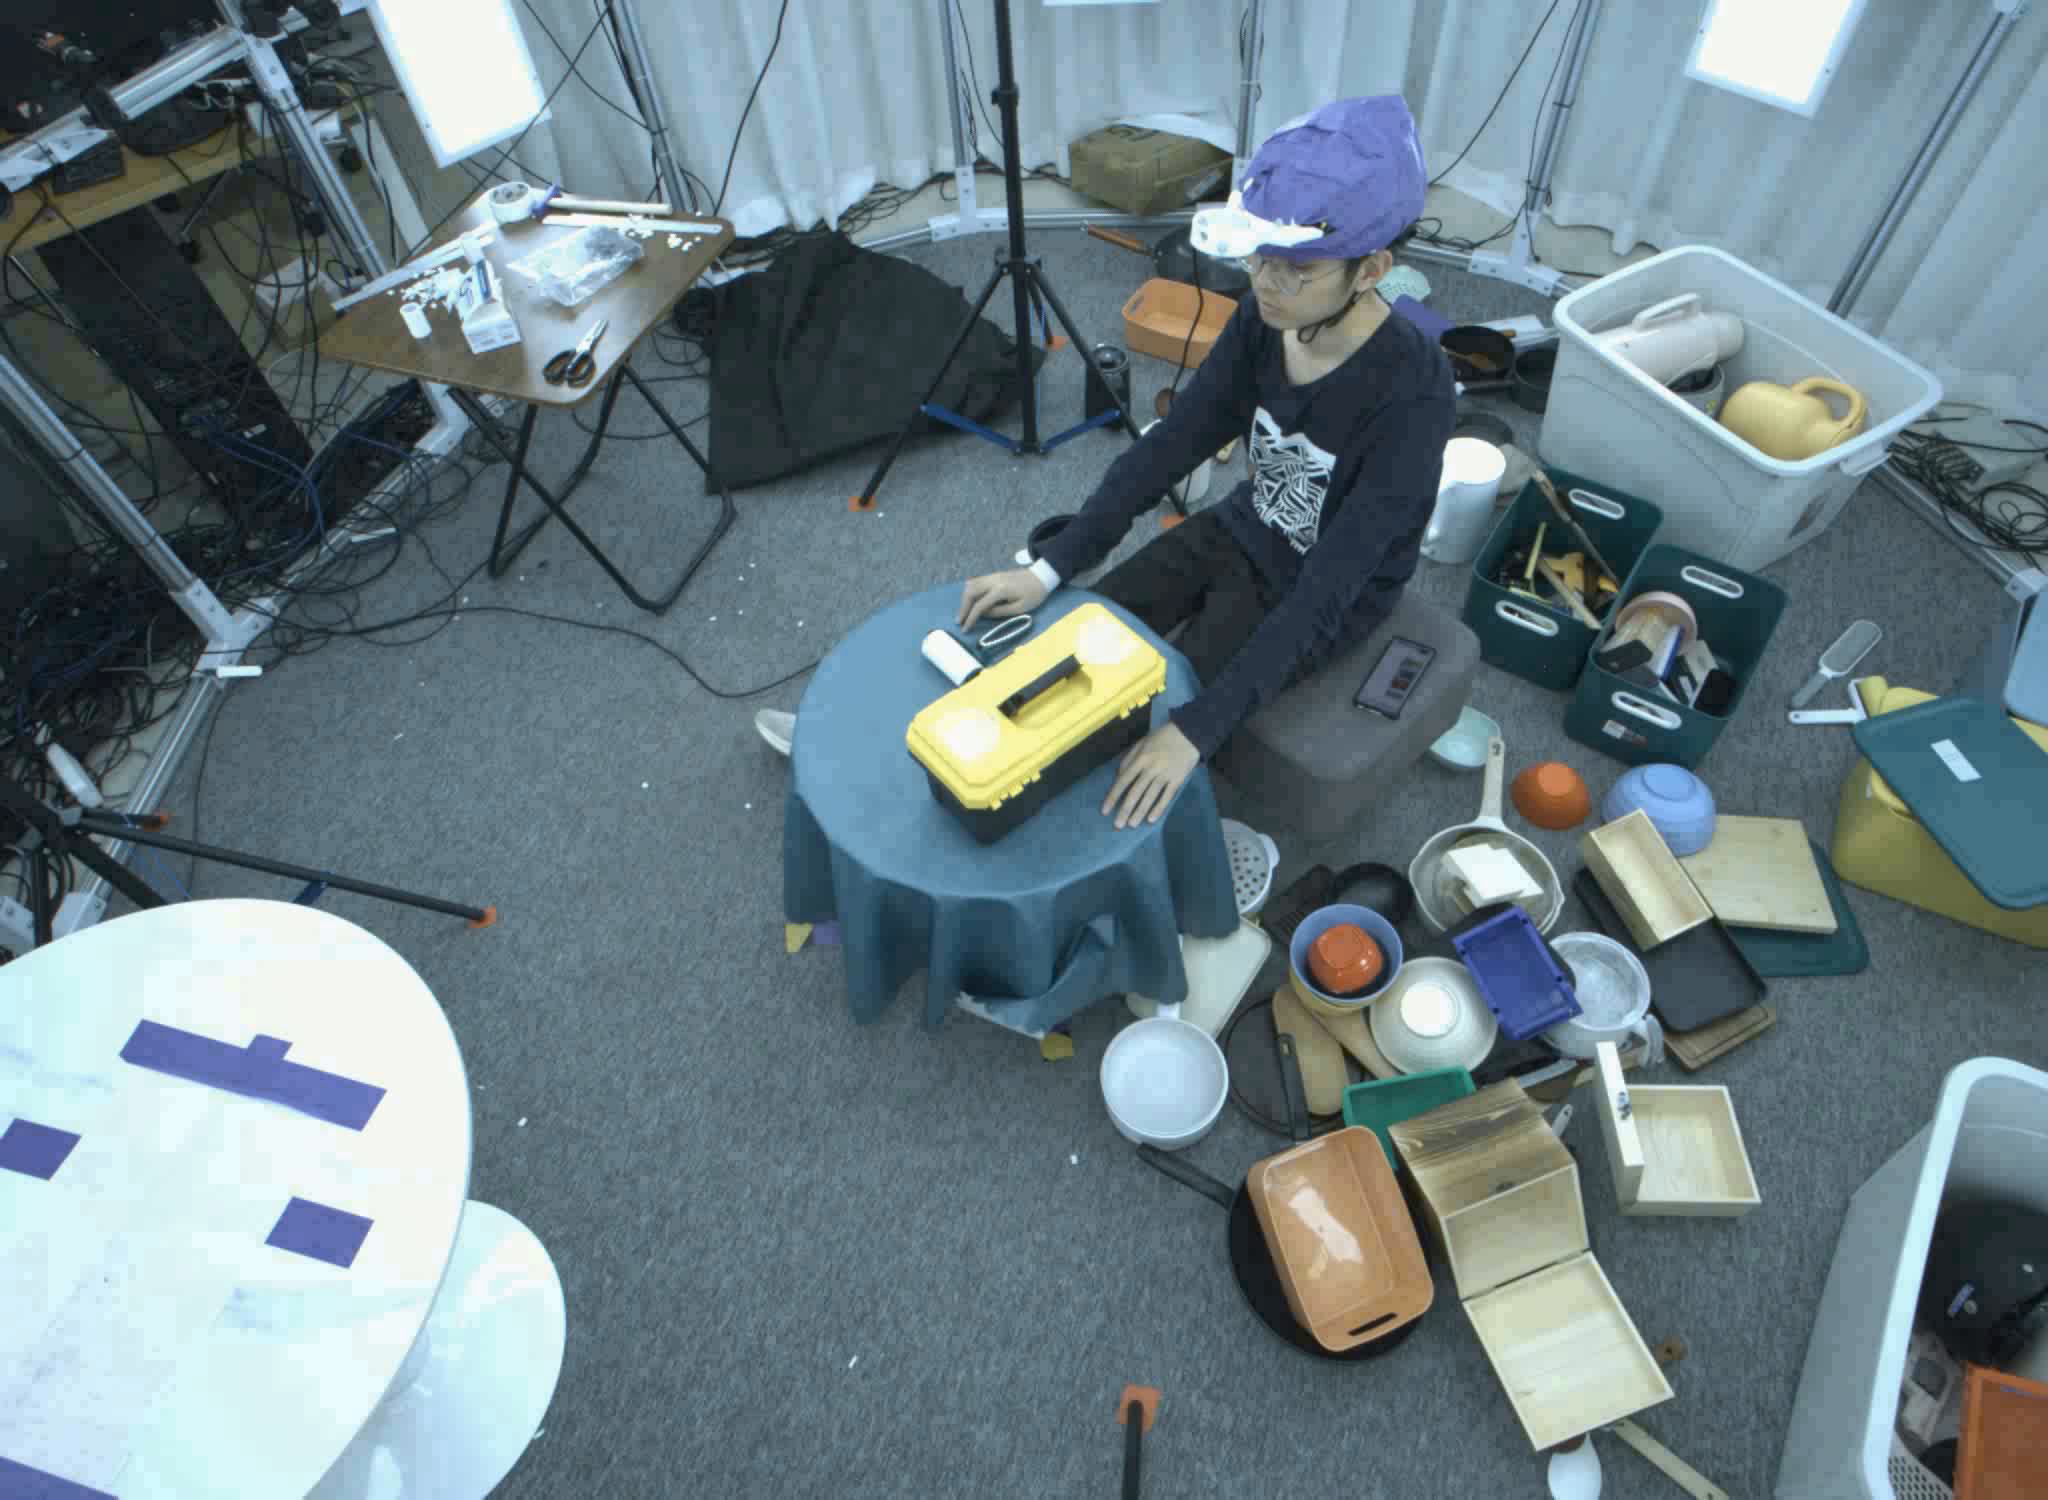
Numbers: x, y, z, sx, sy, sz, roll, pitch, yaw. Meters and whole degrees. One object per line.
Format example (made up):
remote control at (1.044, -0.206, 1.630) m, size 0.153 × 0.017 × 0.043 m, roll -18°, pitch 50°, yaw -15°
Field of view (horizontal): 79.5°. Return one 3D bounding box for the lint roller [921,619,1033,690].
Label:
lint roller at (-0.057, -0.170, 1.894) m, size 0.182 × 0.049 × 0.132 m, roll -33°, pitch 59°, yaw -25°

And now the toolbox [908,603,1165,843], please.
toolbox at (0.021, -0.038, 1.715) m, size 0.354 × 0.174 × 0.178 m, roll -35°, pitch 61°, yaw -22°
